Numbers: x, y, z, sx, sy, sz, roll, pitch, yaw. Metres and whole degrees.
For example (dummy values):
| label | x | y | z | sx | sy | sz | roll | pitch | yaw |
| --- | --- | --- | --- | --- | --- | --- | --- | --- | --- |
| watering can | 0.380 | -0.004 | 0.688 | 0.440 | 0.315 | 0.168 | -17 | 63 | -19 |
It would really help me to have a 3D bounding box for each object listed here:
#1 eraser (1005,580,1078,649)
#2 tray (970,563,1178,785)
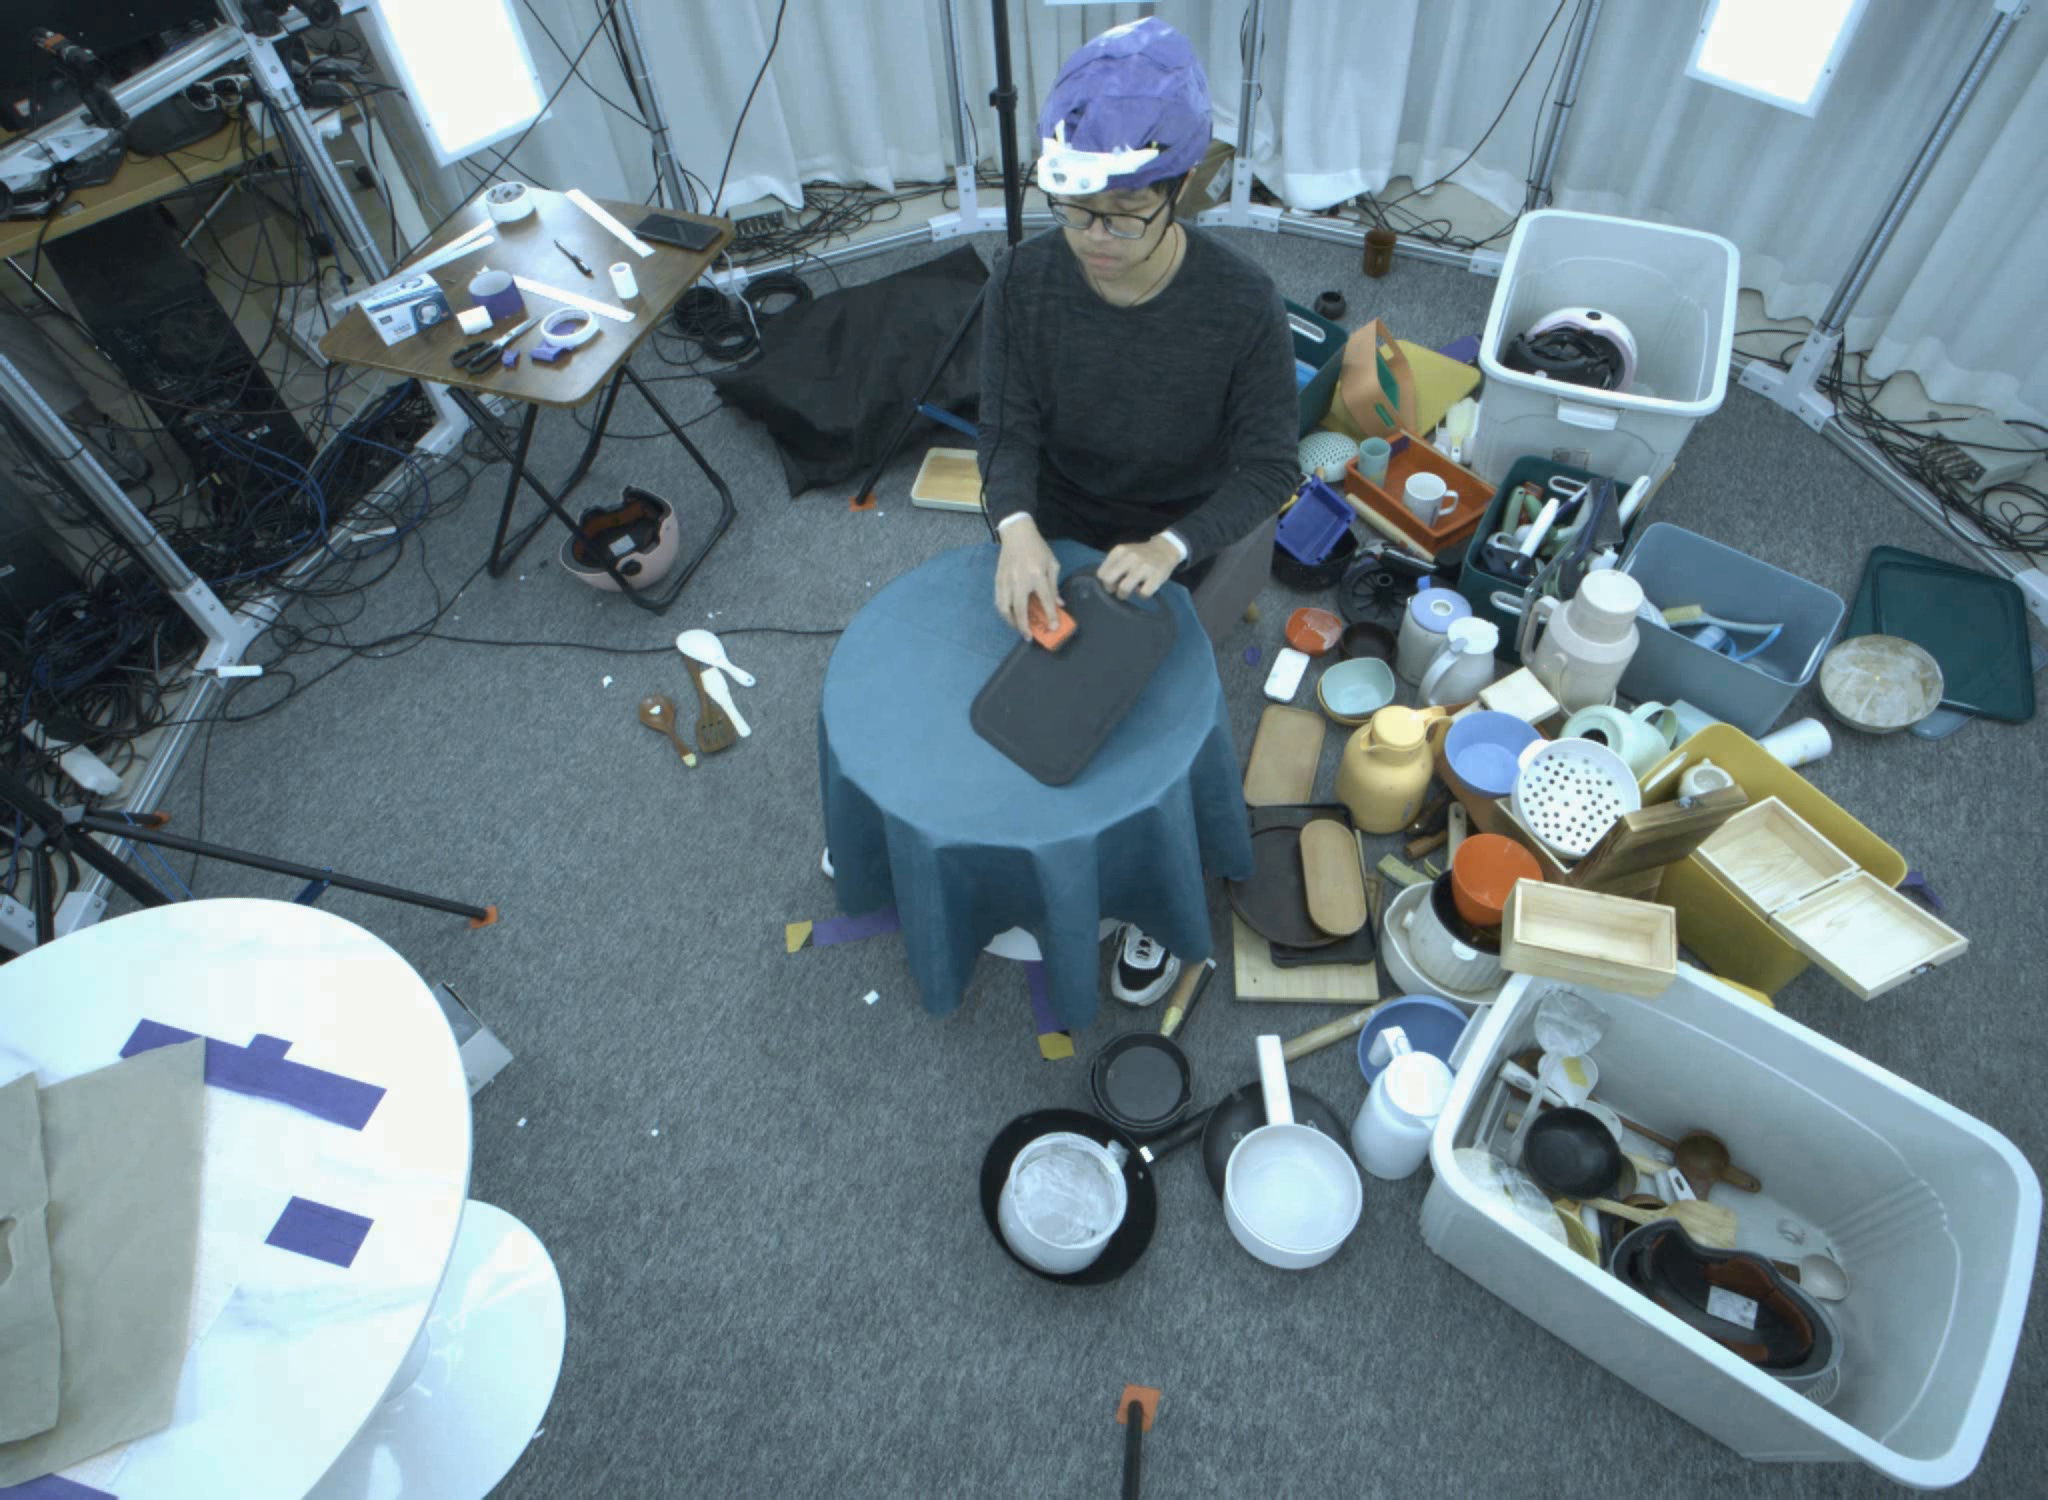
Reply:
| label | x | y | z | sx | sy | sz | roll | pitch | yaw |
| --- | --- | --- | --- | --- | --- | --- | --- | --- | --- |
| eraser | 0.025 | -0.200 | 1.805 | 0.059 | 0.023 | 0.106 | -47 | 64 | 1 |
| tray | 0.073 | -0.121 | 1.781 | 0.207 | 0.010 | 0.325 | 38 | 91 | 24 |
